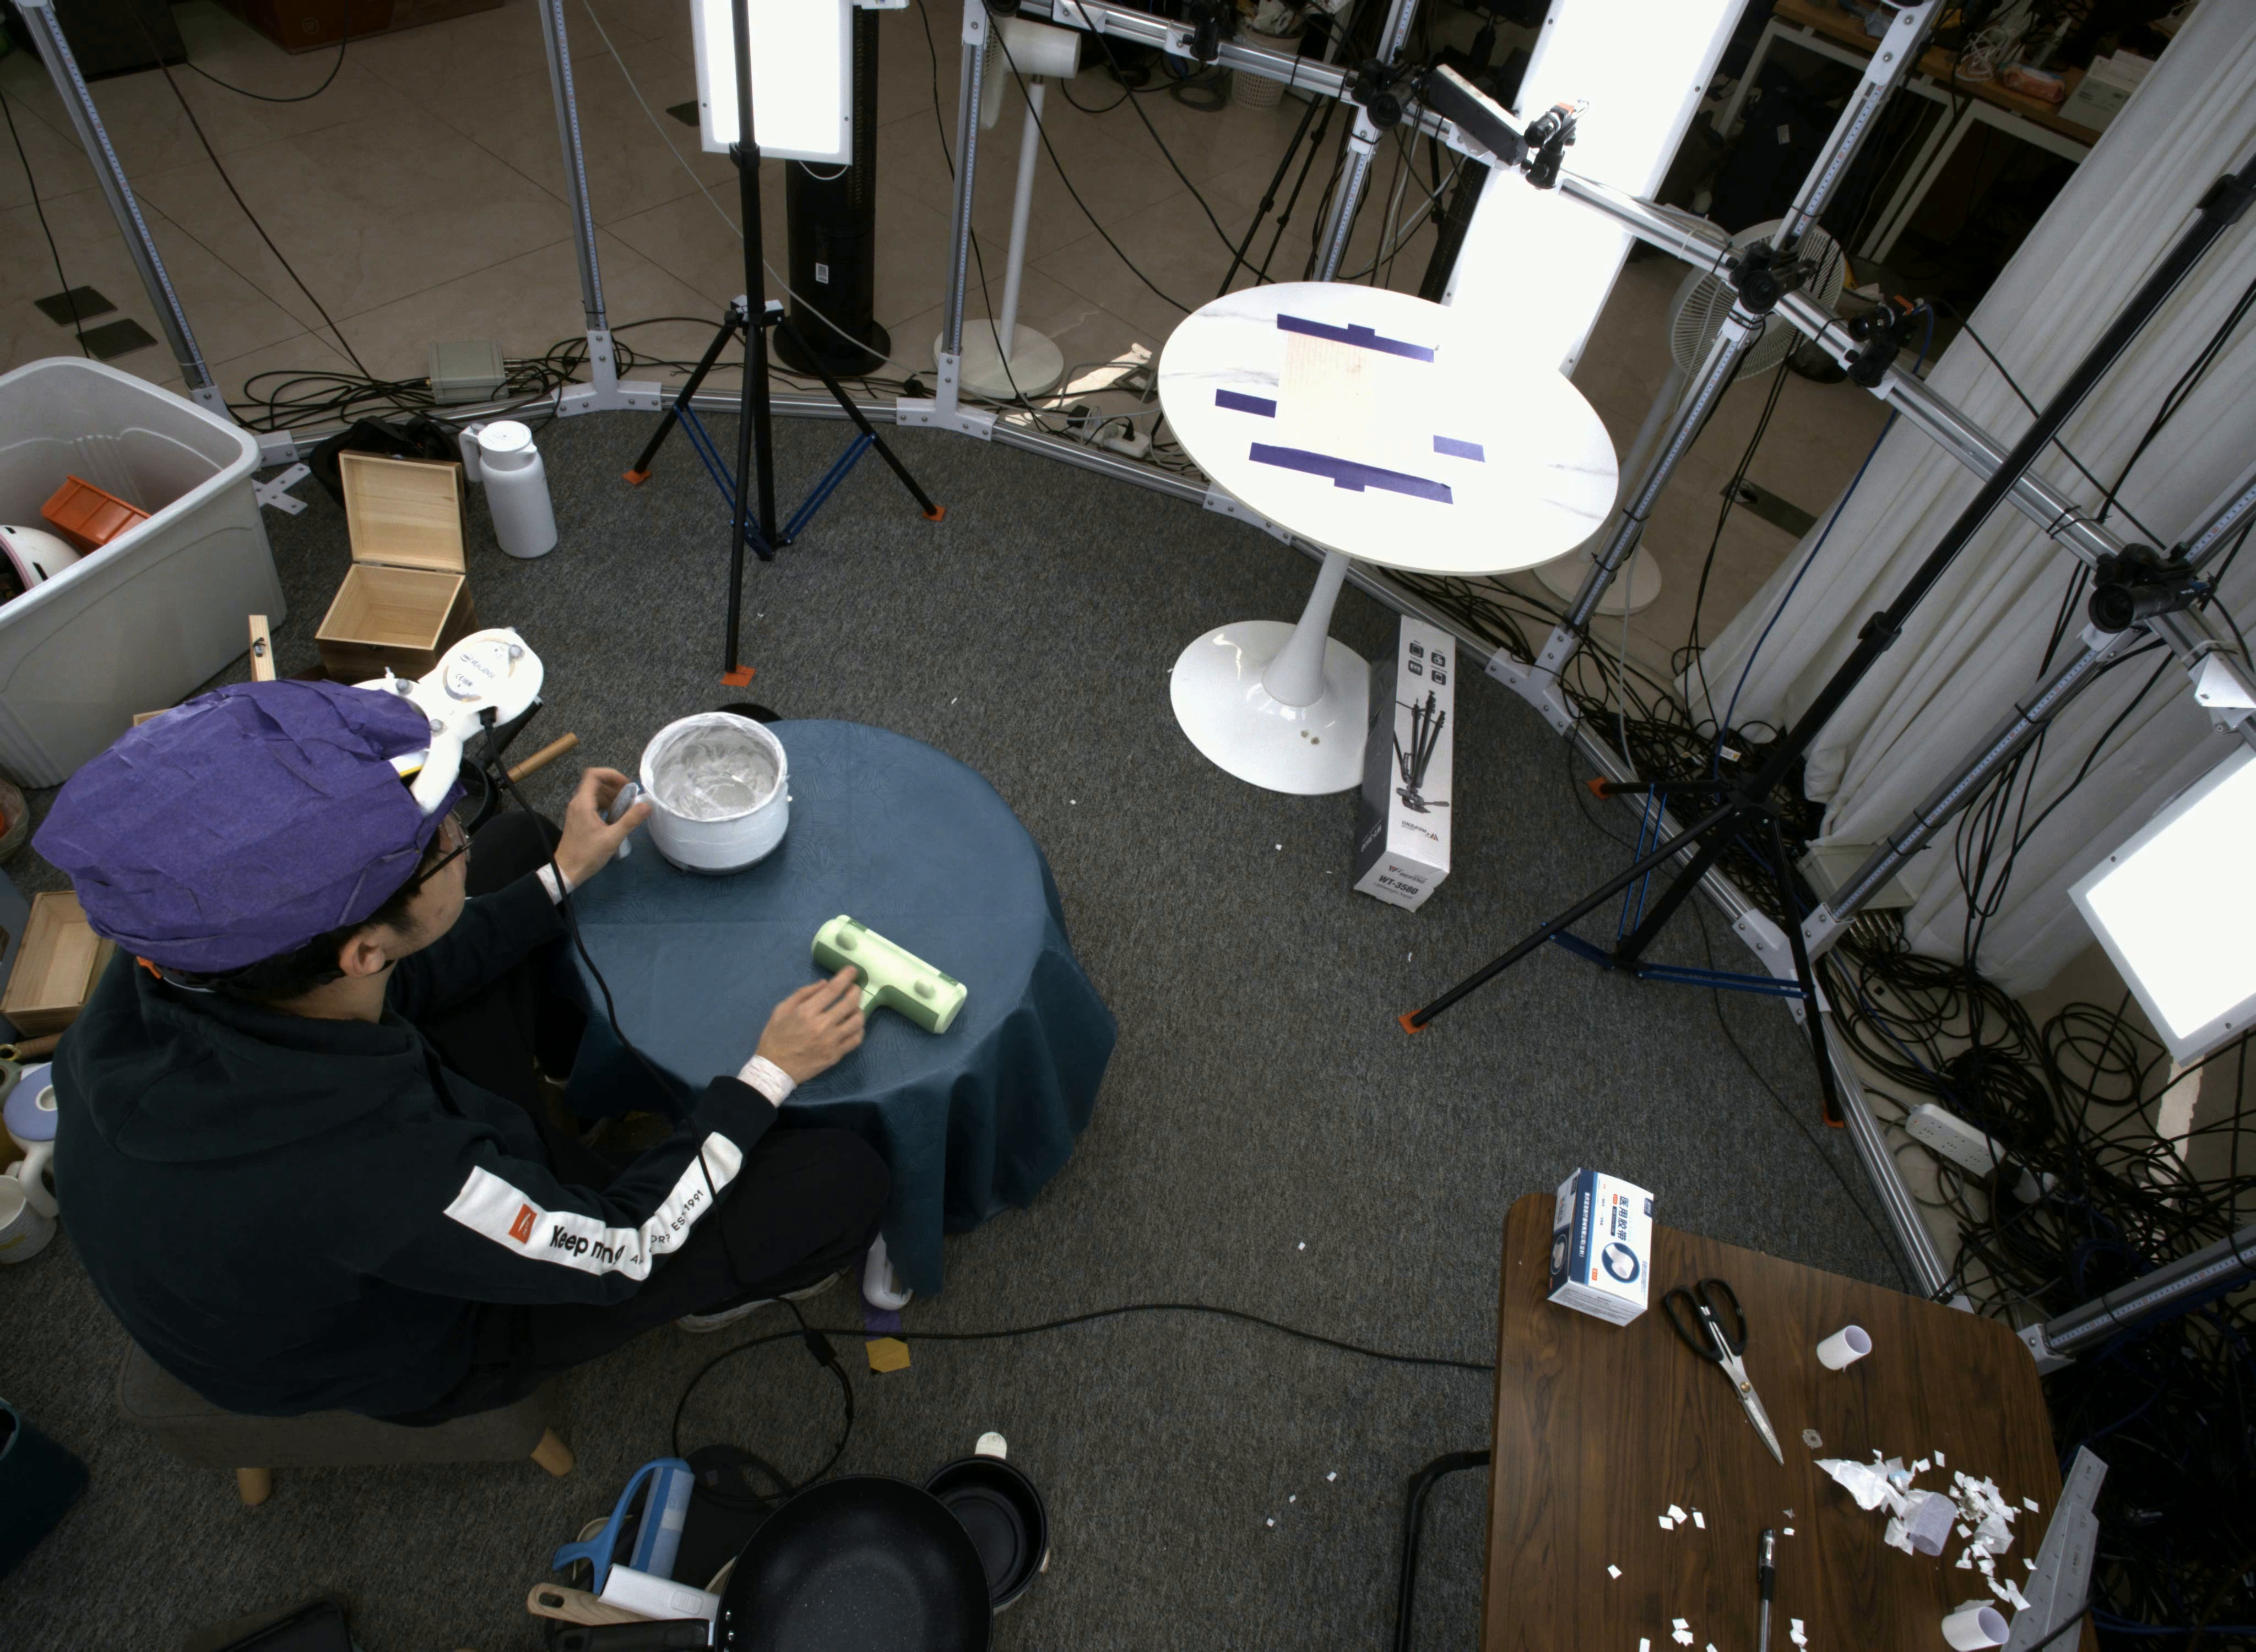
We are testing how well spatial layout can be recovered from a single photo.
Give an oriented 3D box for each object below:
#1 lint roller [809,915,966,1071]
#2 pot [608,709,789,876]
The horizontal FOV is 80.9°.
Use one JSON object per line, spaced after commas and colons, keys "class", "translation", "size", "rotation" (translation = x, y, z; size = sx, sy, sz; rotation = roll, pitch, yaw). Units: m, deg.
{"class": "lint roller", "translation": [-0.321, 0.208, 1.555], "size": [0.195, 0.084, 0.182], "rotation": [30, 47, 8]}
{"class": "pot", "translation": [-0.547, -0.031, 1.631], "size": [0.235, 0.139, 0.174], "rotation": [-19, 59, -27]}
